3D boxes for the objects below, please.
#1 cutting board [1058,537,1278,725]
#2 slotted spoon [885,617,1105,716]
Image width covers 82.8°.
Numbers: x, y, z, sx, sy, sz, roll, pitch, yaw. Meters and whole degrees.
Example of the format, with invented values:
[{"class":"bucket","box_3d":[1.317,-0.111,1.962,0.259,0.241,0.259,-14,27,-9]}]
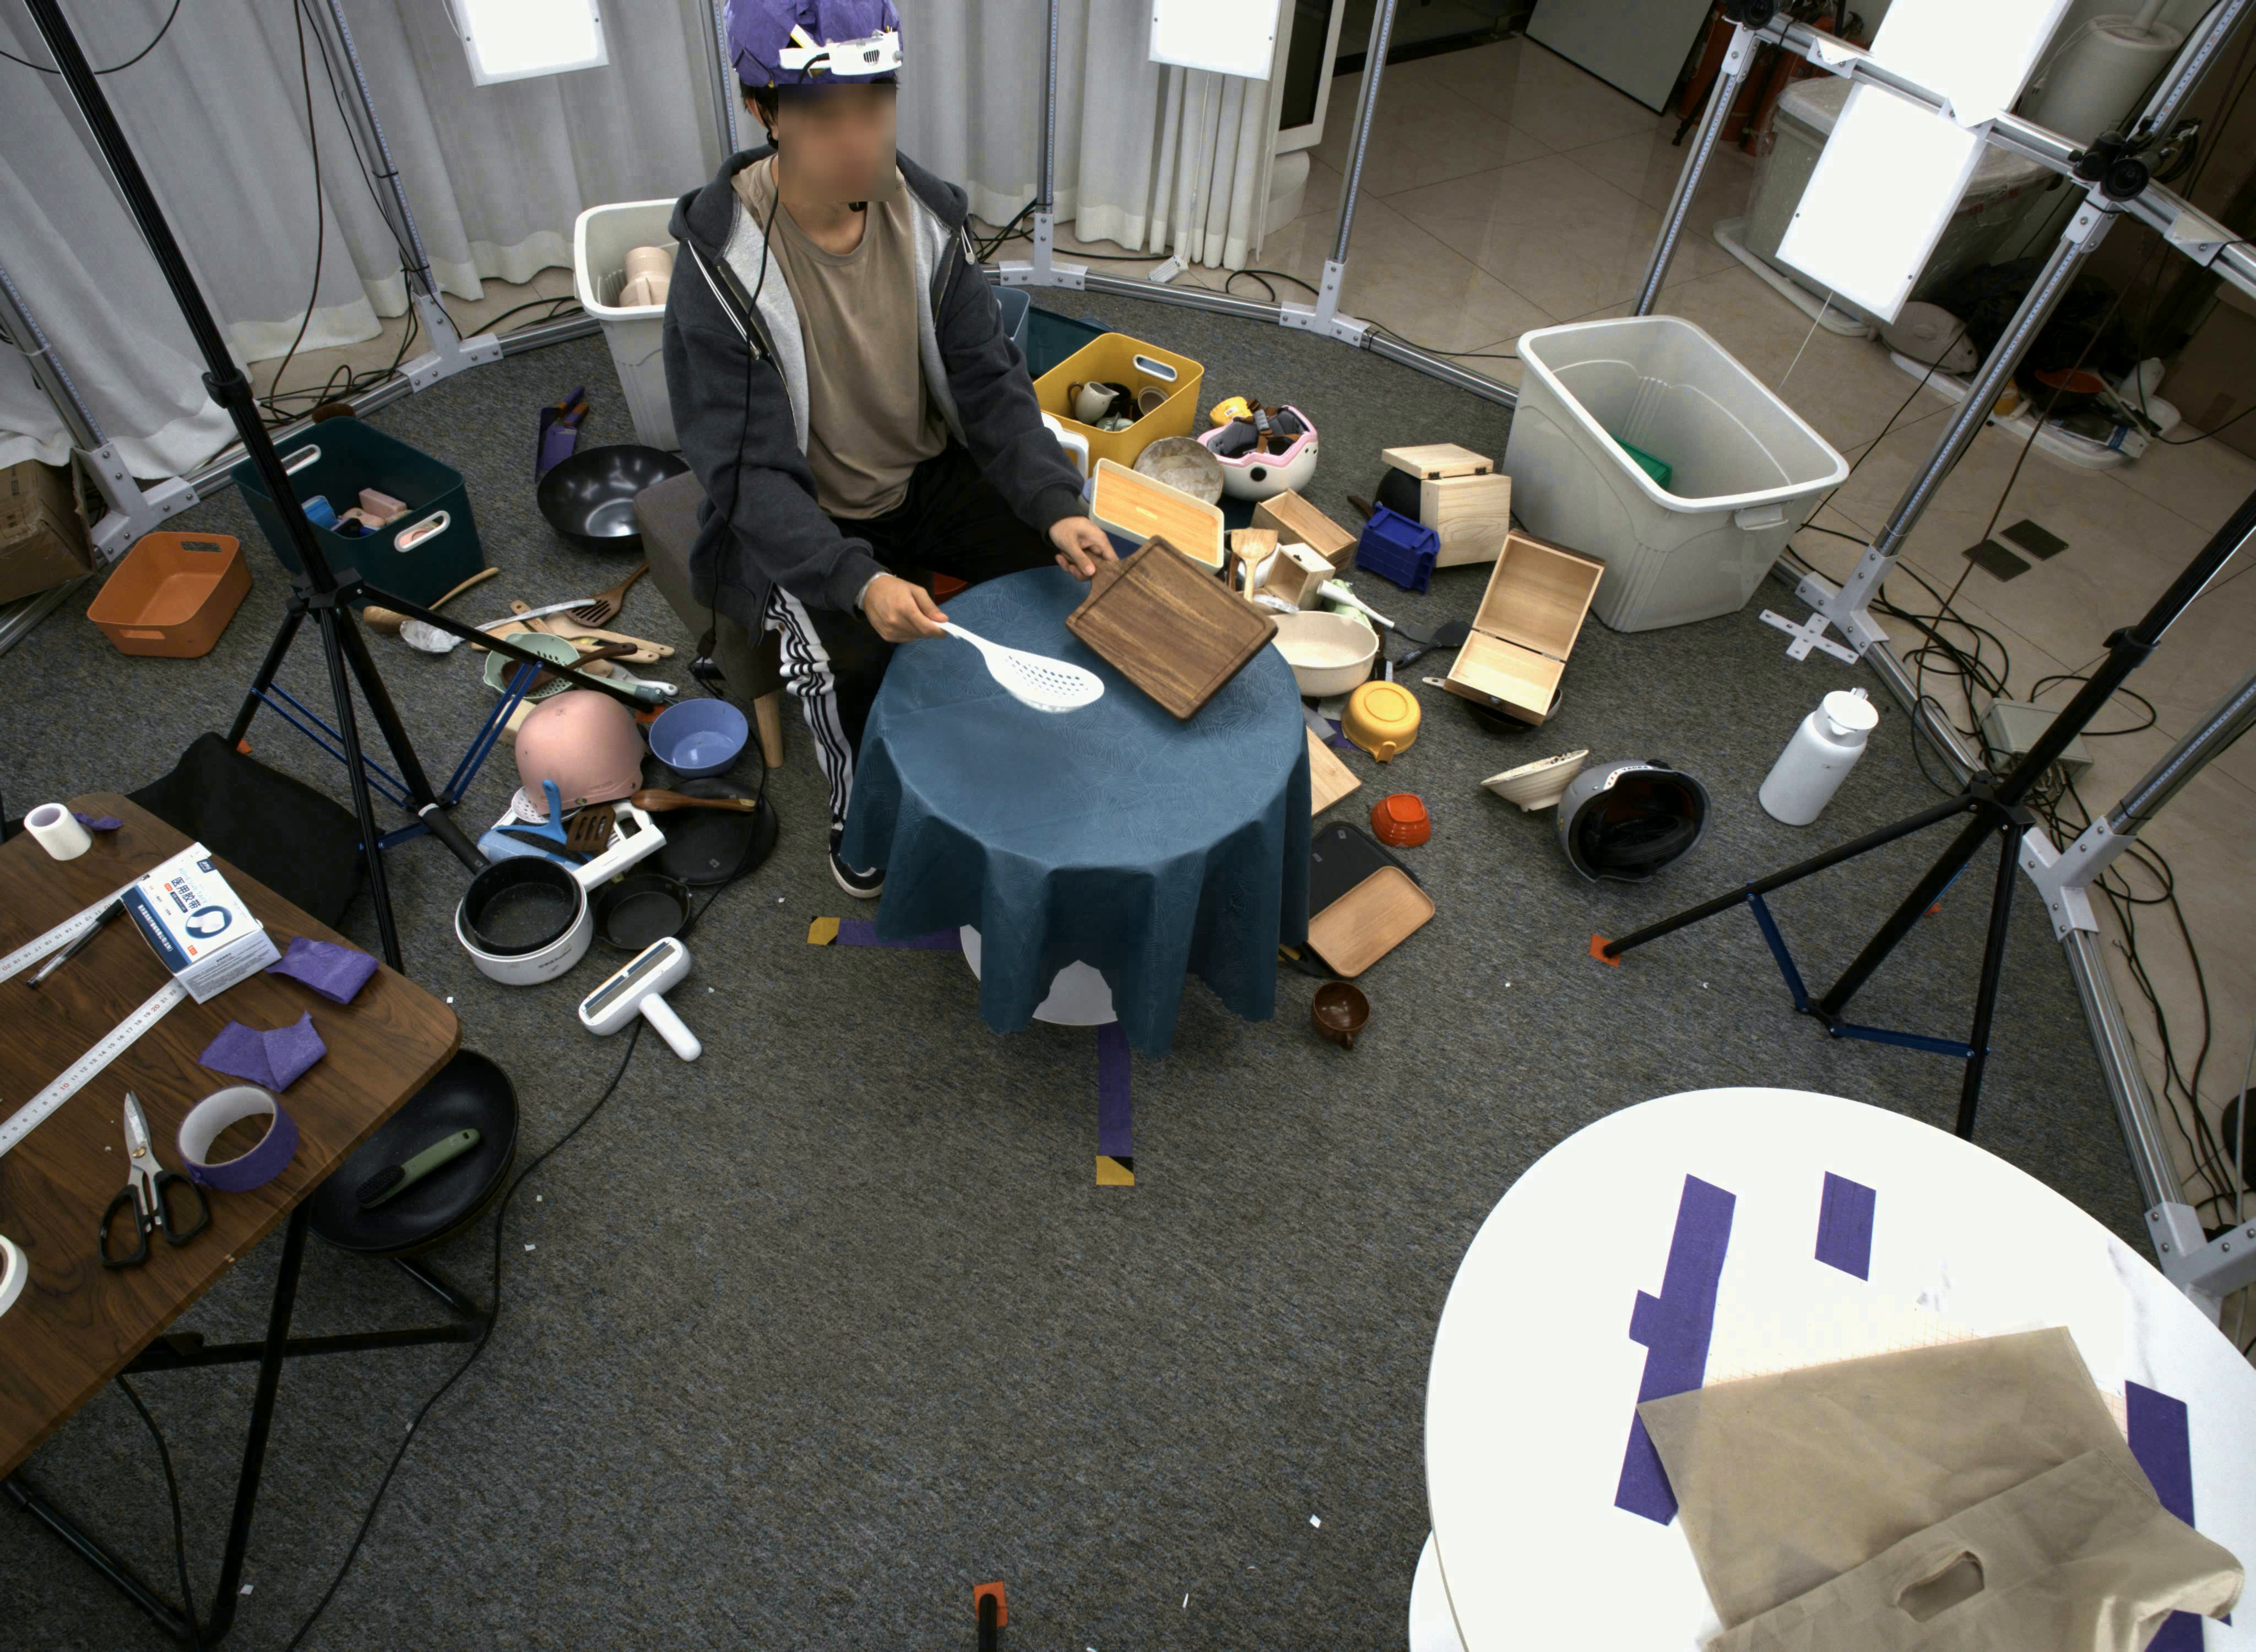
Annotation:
[{"class":"cutting board","box_3d":[0.026,-0.314,1.858,0.202,0.023,0.357,-44,64,-10]},{"class":"slotted spoon","box_3d":[-0.187,-0.223,1.699,0.352,0.049,0.138,32,36,25]}]
